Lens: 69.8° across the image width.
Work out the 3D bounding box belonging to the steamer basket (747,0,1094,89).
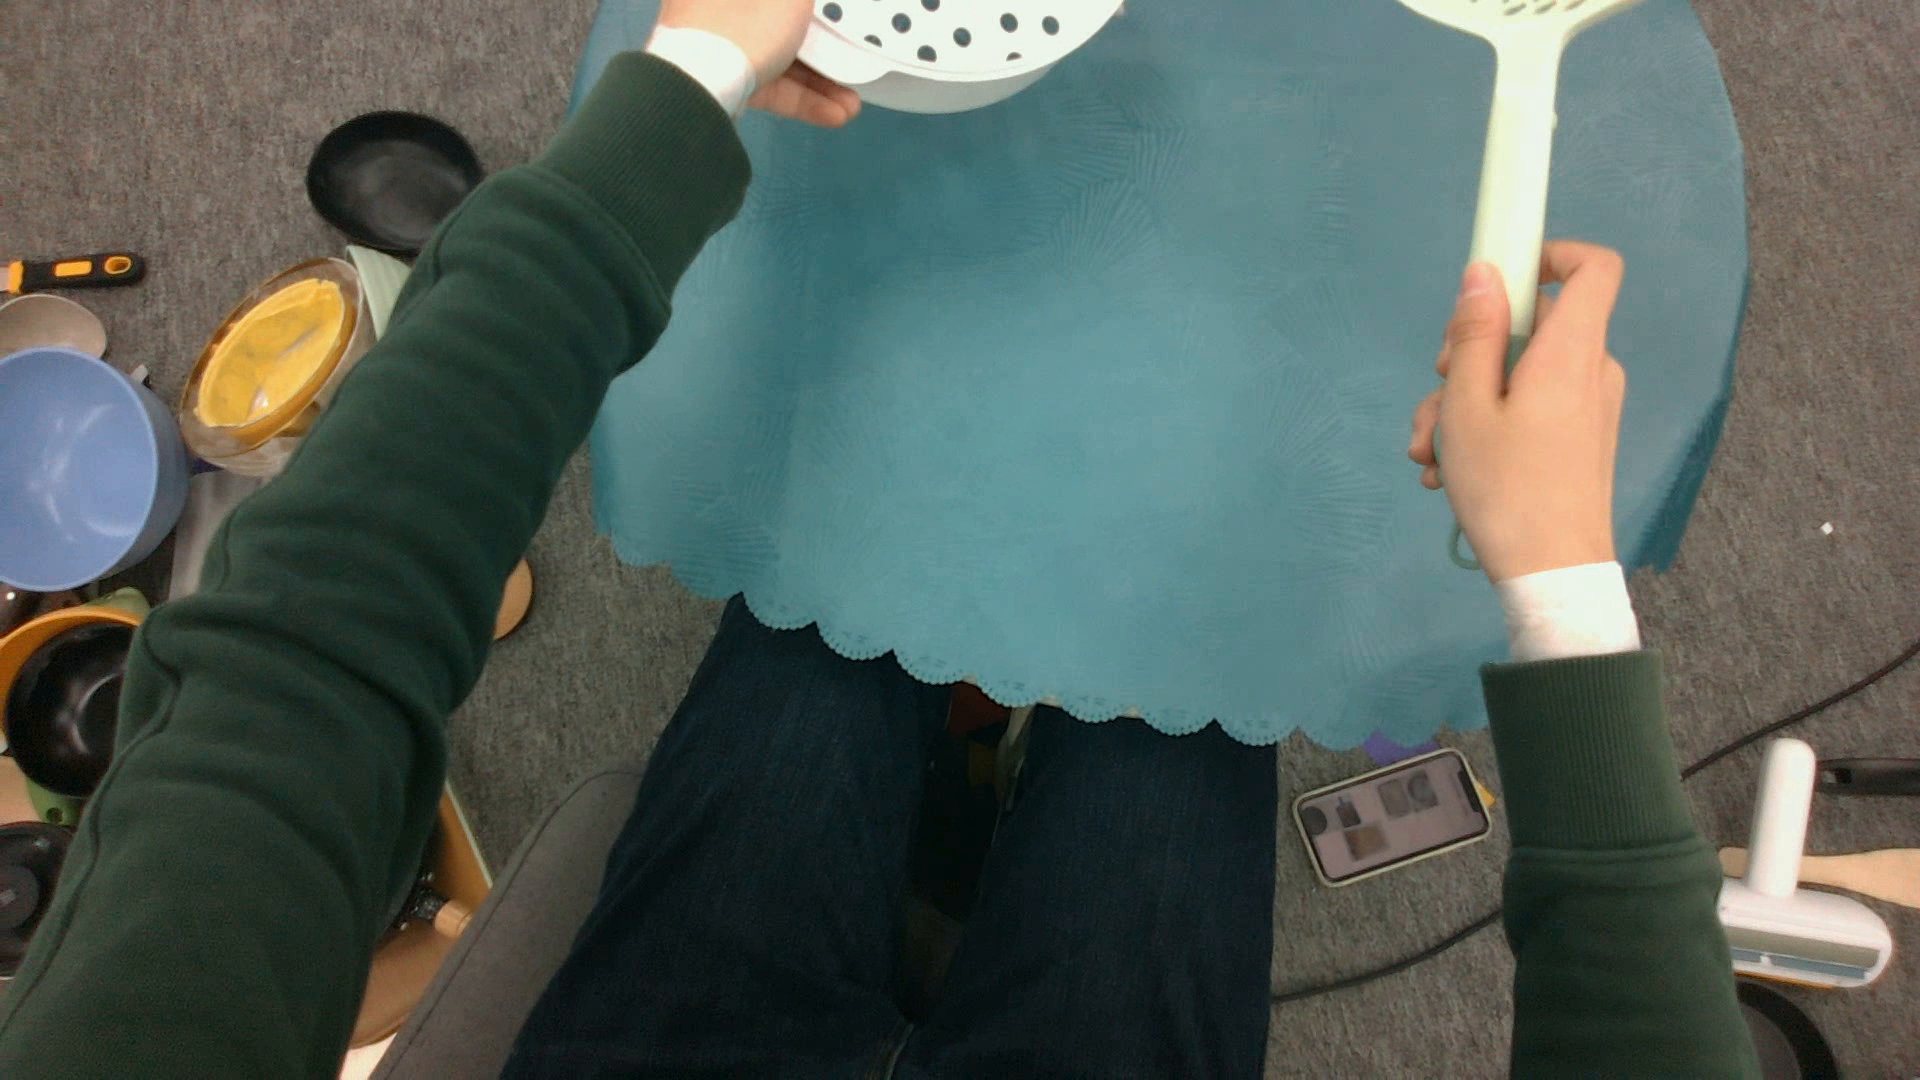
[{"bbox_3d":[-0.020,-0.306,0.618,0.202,0.069,0.231,33,79,-11],"label":"steamer basket"}]

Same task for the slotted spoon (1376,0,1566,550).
[{"bbox_3d":[0.198,-0.178,0.506,0.075,0.169,0.359,13,85,-44],"label":"slotted spoon"}]
